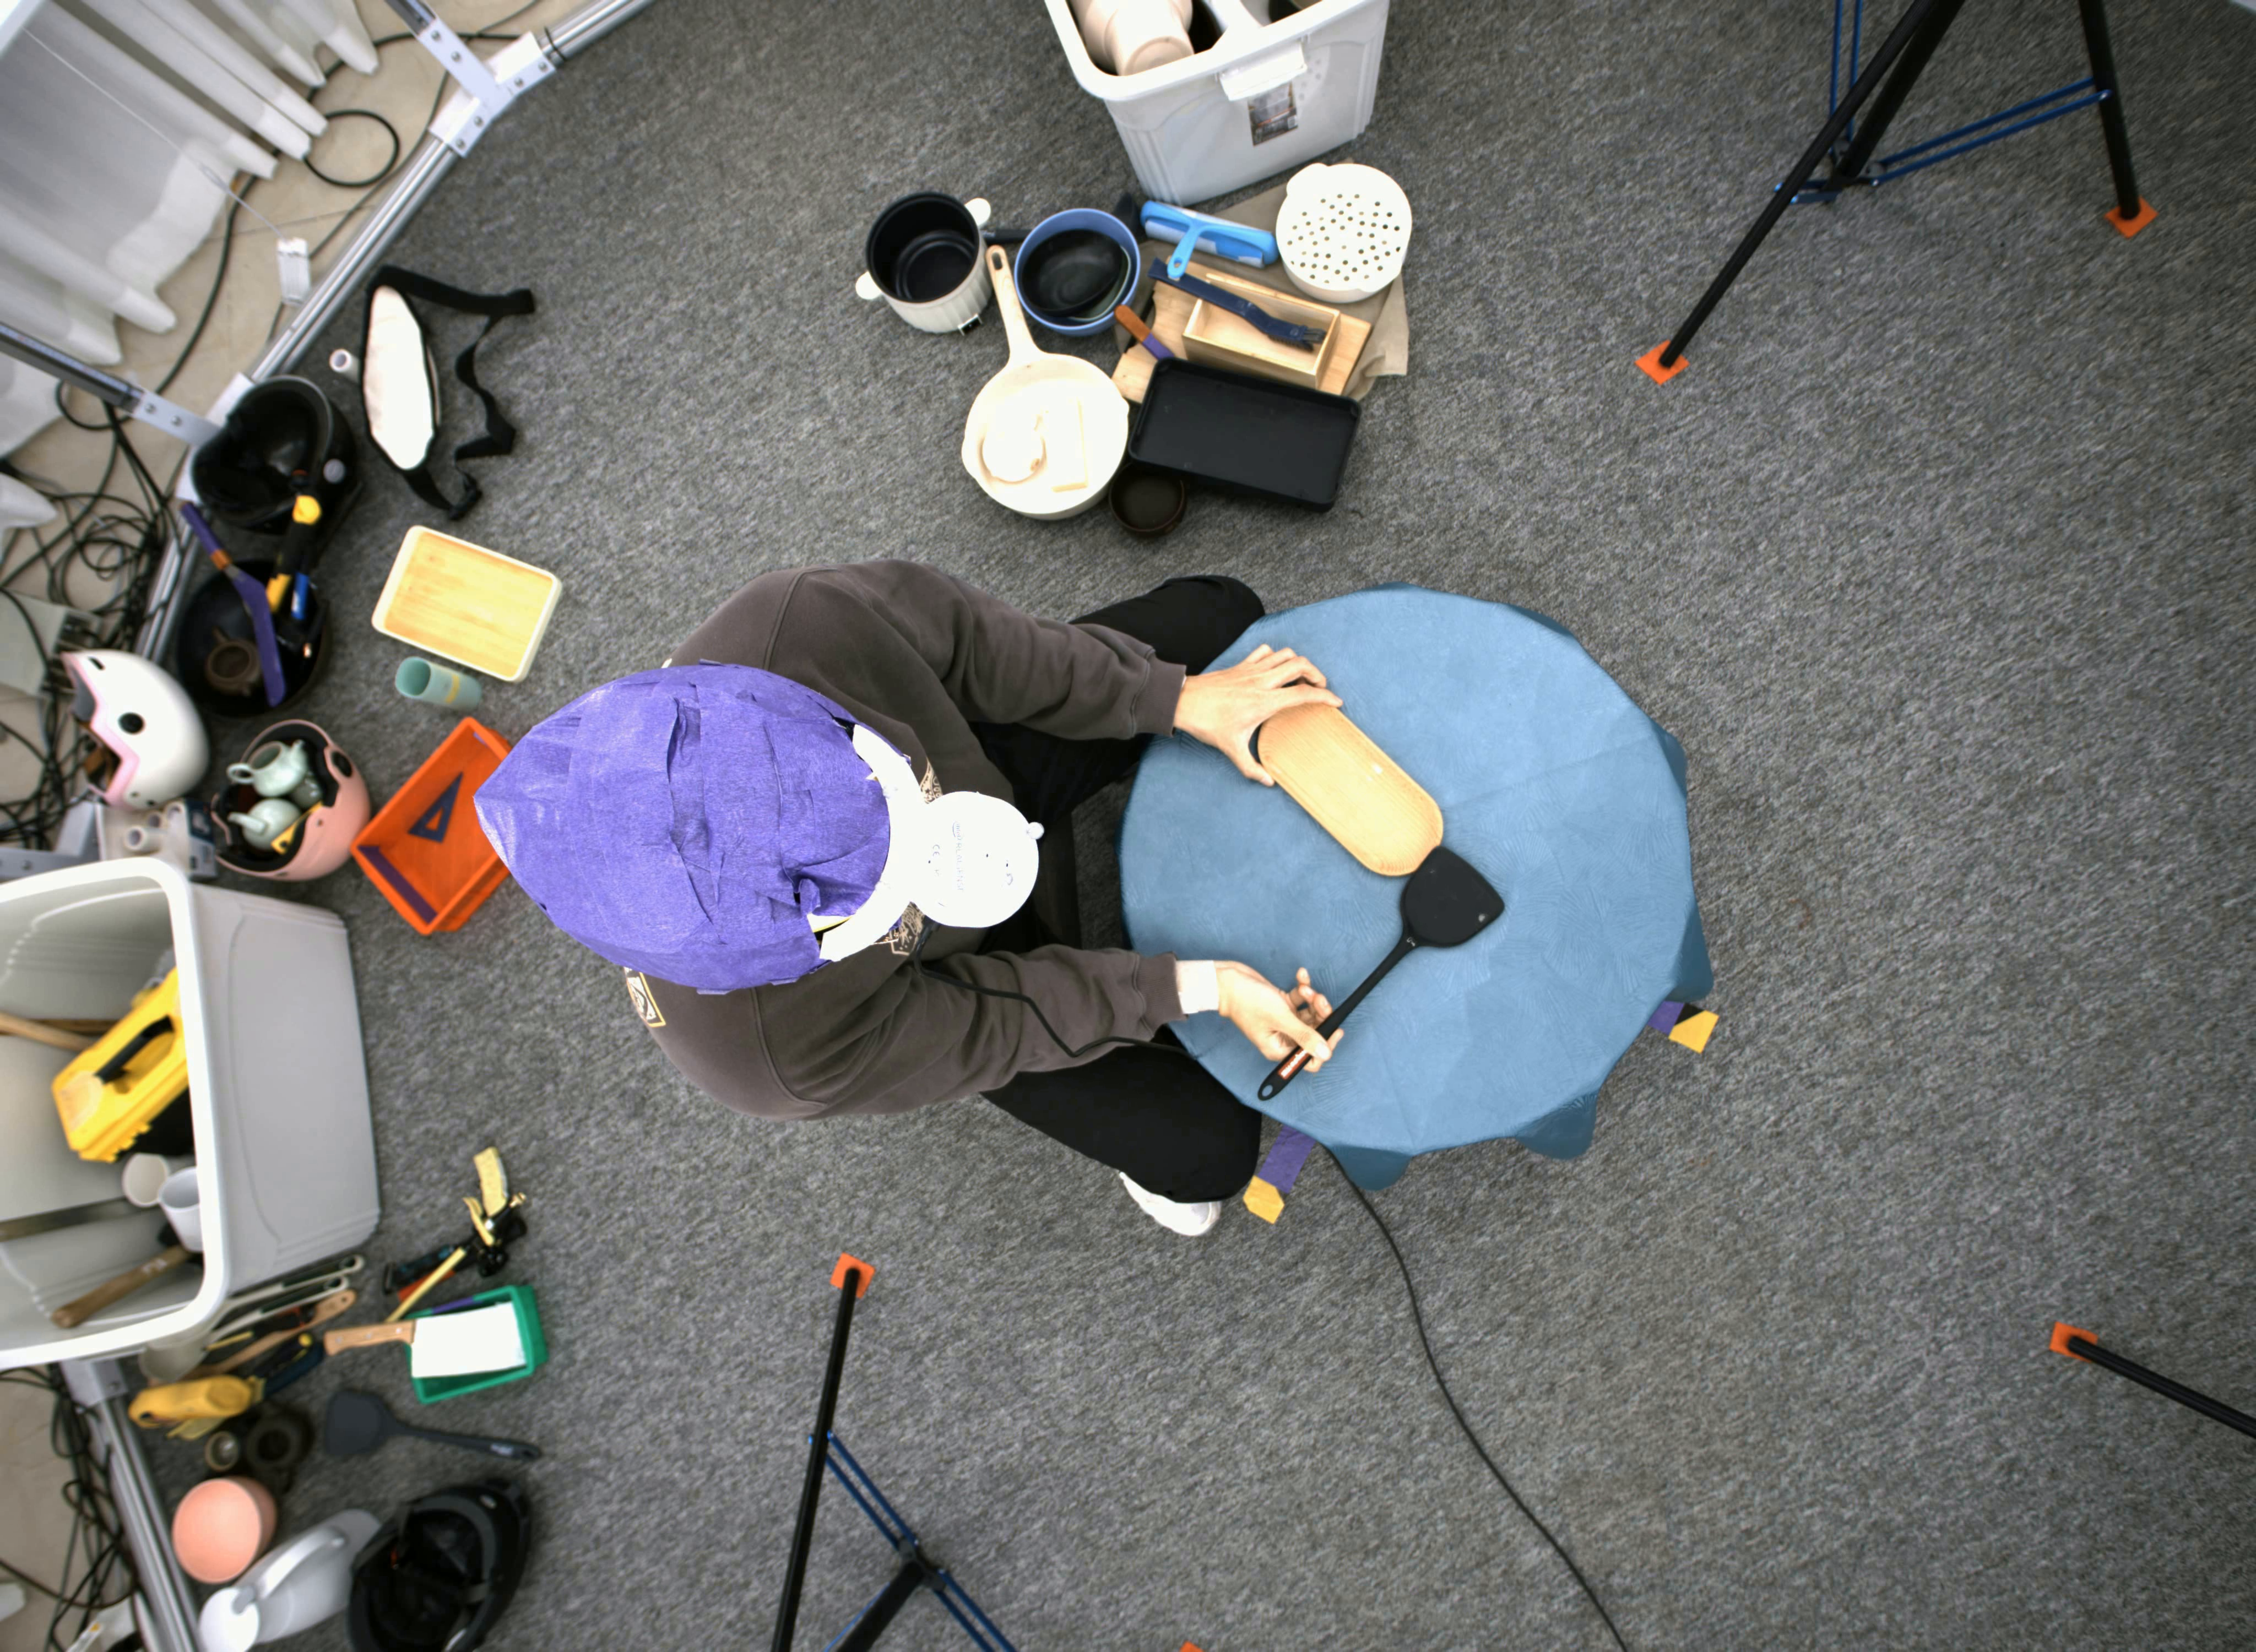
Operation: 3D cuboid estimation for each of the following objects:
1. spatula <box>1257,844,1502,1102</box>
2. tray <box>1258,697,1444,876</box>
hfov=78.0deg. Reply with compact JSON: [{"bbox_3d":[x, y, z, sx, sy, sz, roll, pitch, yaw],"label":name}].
[{"bbox_3d":[0.245,0.160,1.416,0.099,0.041,0.323,43,80,9],"label":"spatula"},{"bbox_3d":[0.235,-0.044,1.461,0.230,0.020,0.102,44,96,8],"label":"tray"}]
